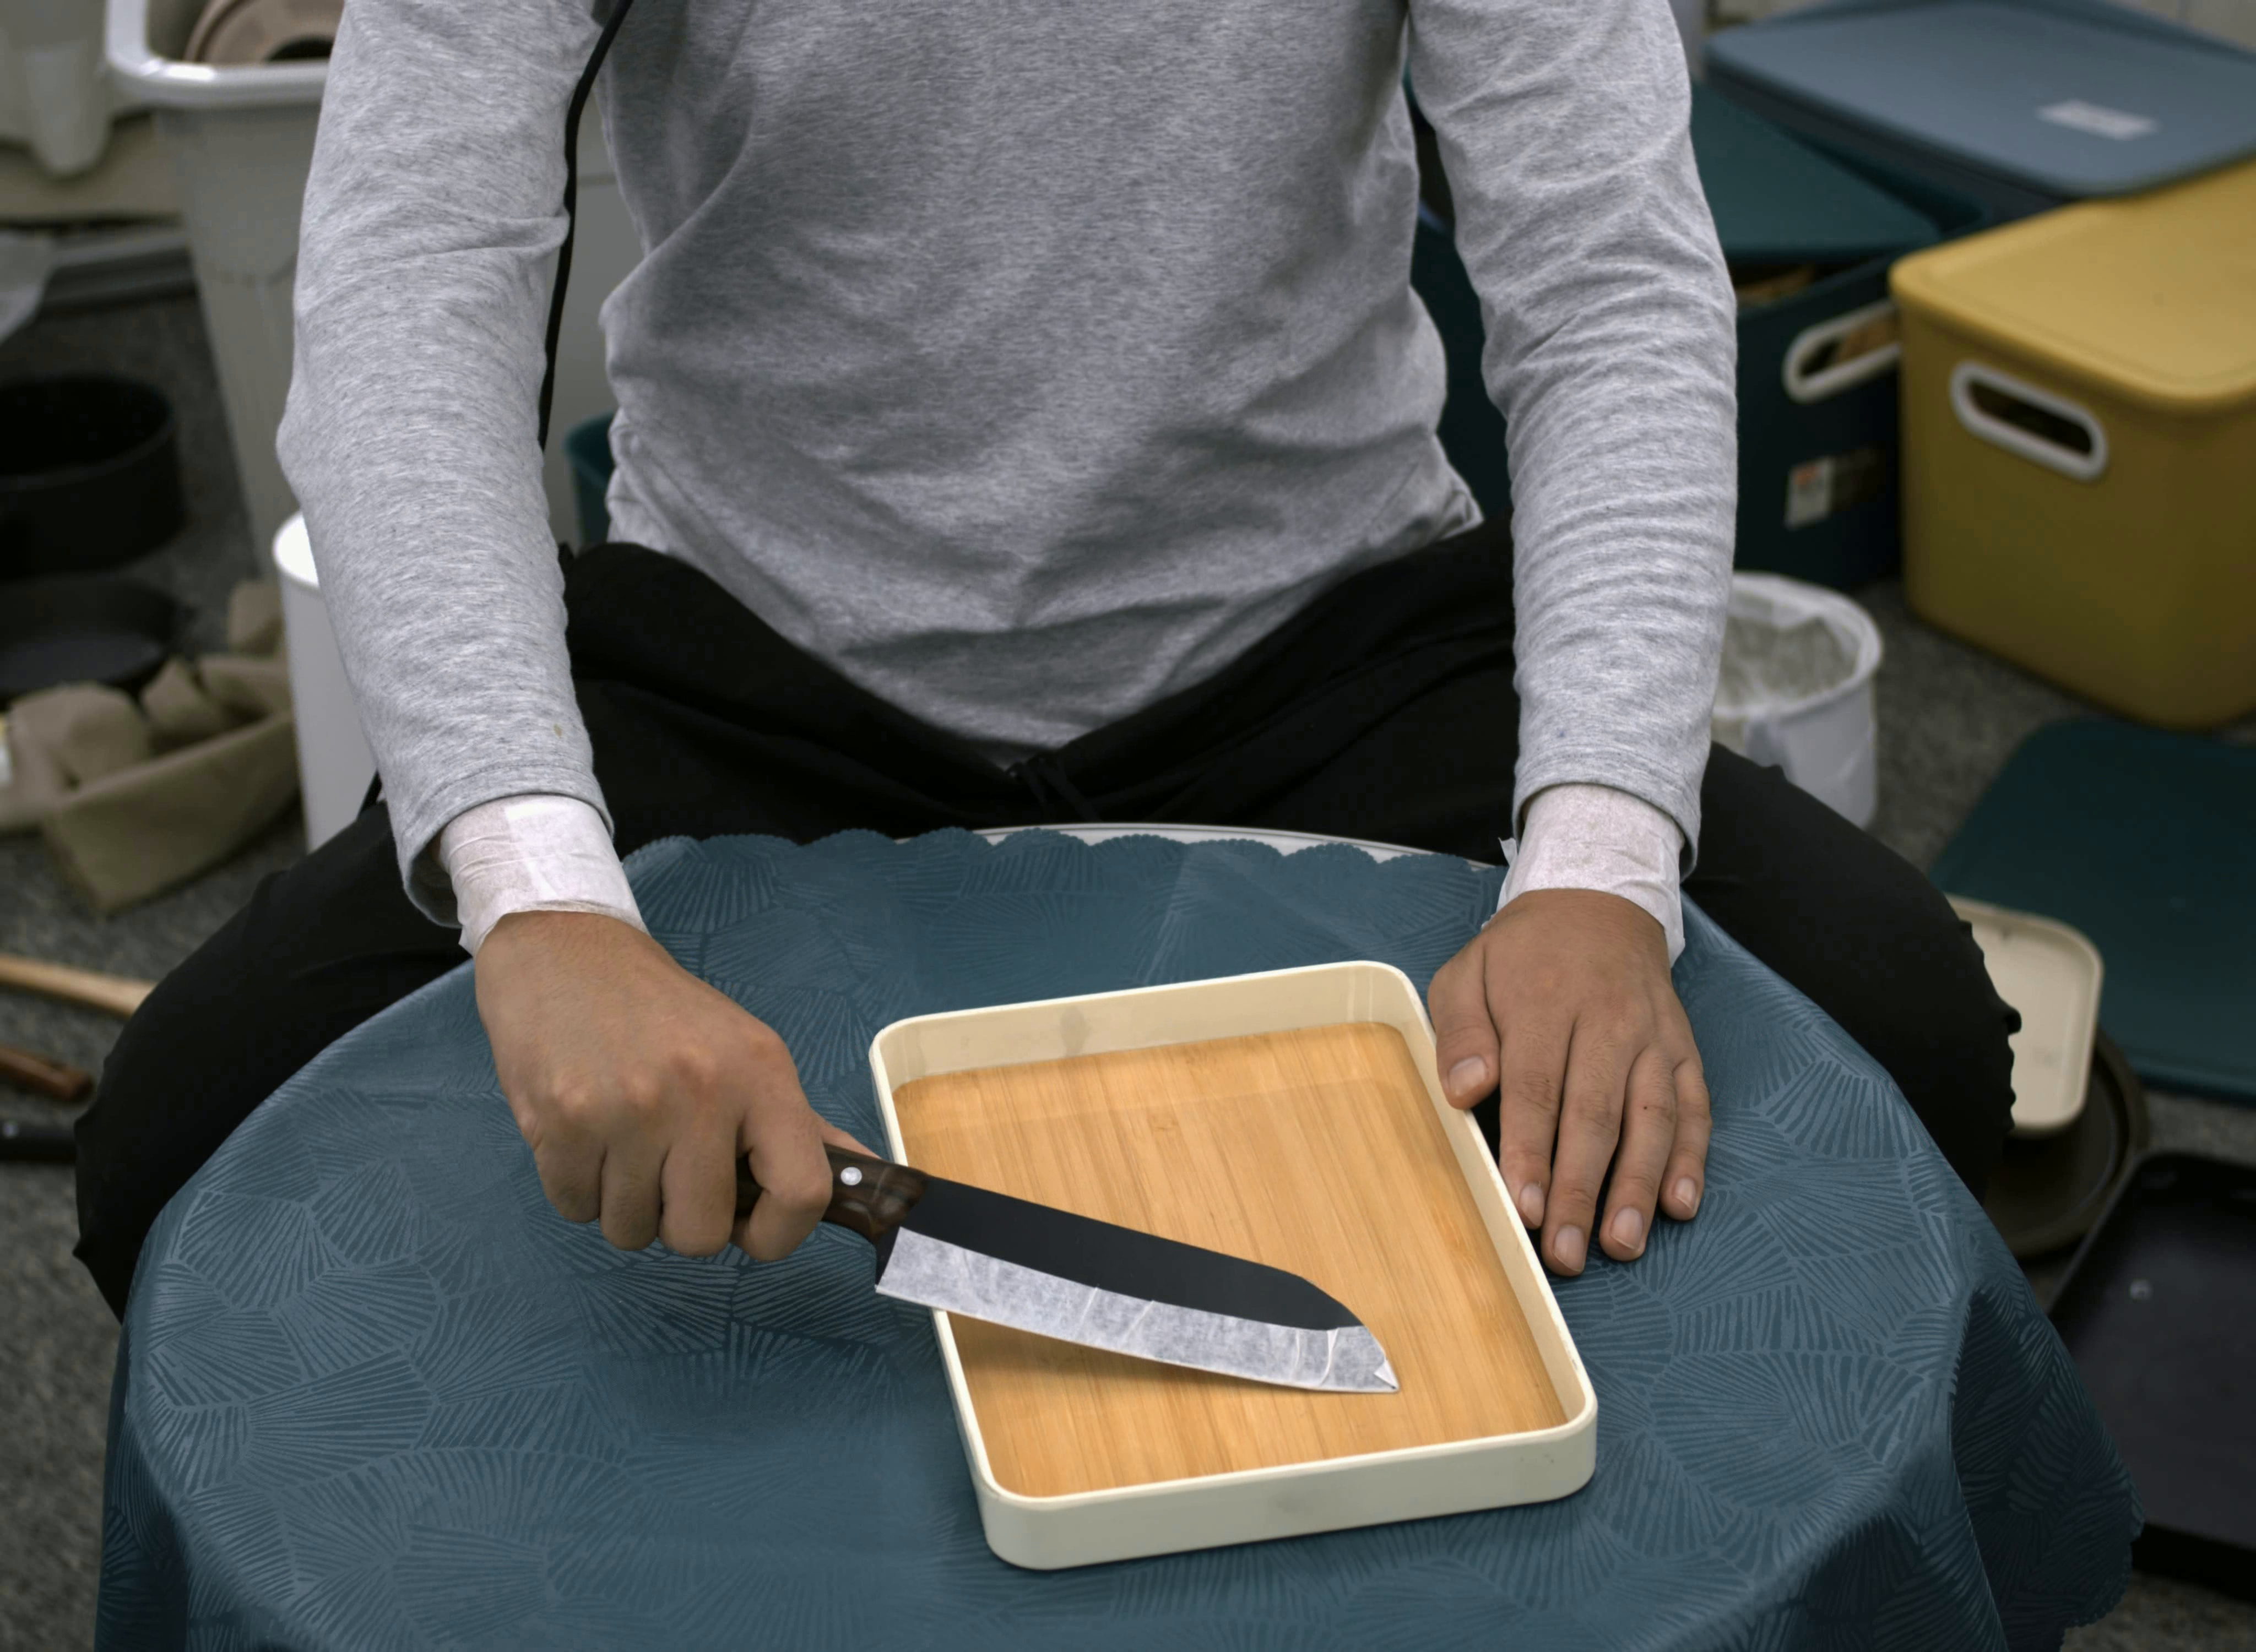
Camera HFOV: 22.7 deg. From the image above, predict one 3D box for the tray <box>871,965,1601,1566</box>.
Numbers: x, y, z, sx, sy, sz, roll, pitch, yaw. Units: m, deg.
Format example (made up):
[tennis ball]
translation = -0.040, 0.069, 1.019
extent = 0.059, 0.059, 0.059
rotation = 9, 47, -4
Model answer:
[tray]
translation = 0.028, 0.135, 1.805
extent = 0.191, 0.027, 0.304
rotation = -6, 27, -7

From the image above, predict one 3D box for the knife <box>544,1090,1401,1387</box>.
[knife]
translation = -0.051, 0.131, 1.766
extent = 0.288, 0.020, 0.051
rotation = 16, 60, 9
